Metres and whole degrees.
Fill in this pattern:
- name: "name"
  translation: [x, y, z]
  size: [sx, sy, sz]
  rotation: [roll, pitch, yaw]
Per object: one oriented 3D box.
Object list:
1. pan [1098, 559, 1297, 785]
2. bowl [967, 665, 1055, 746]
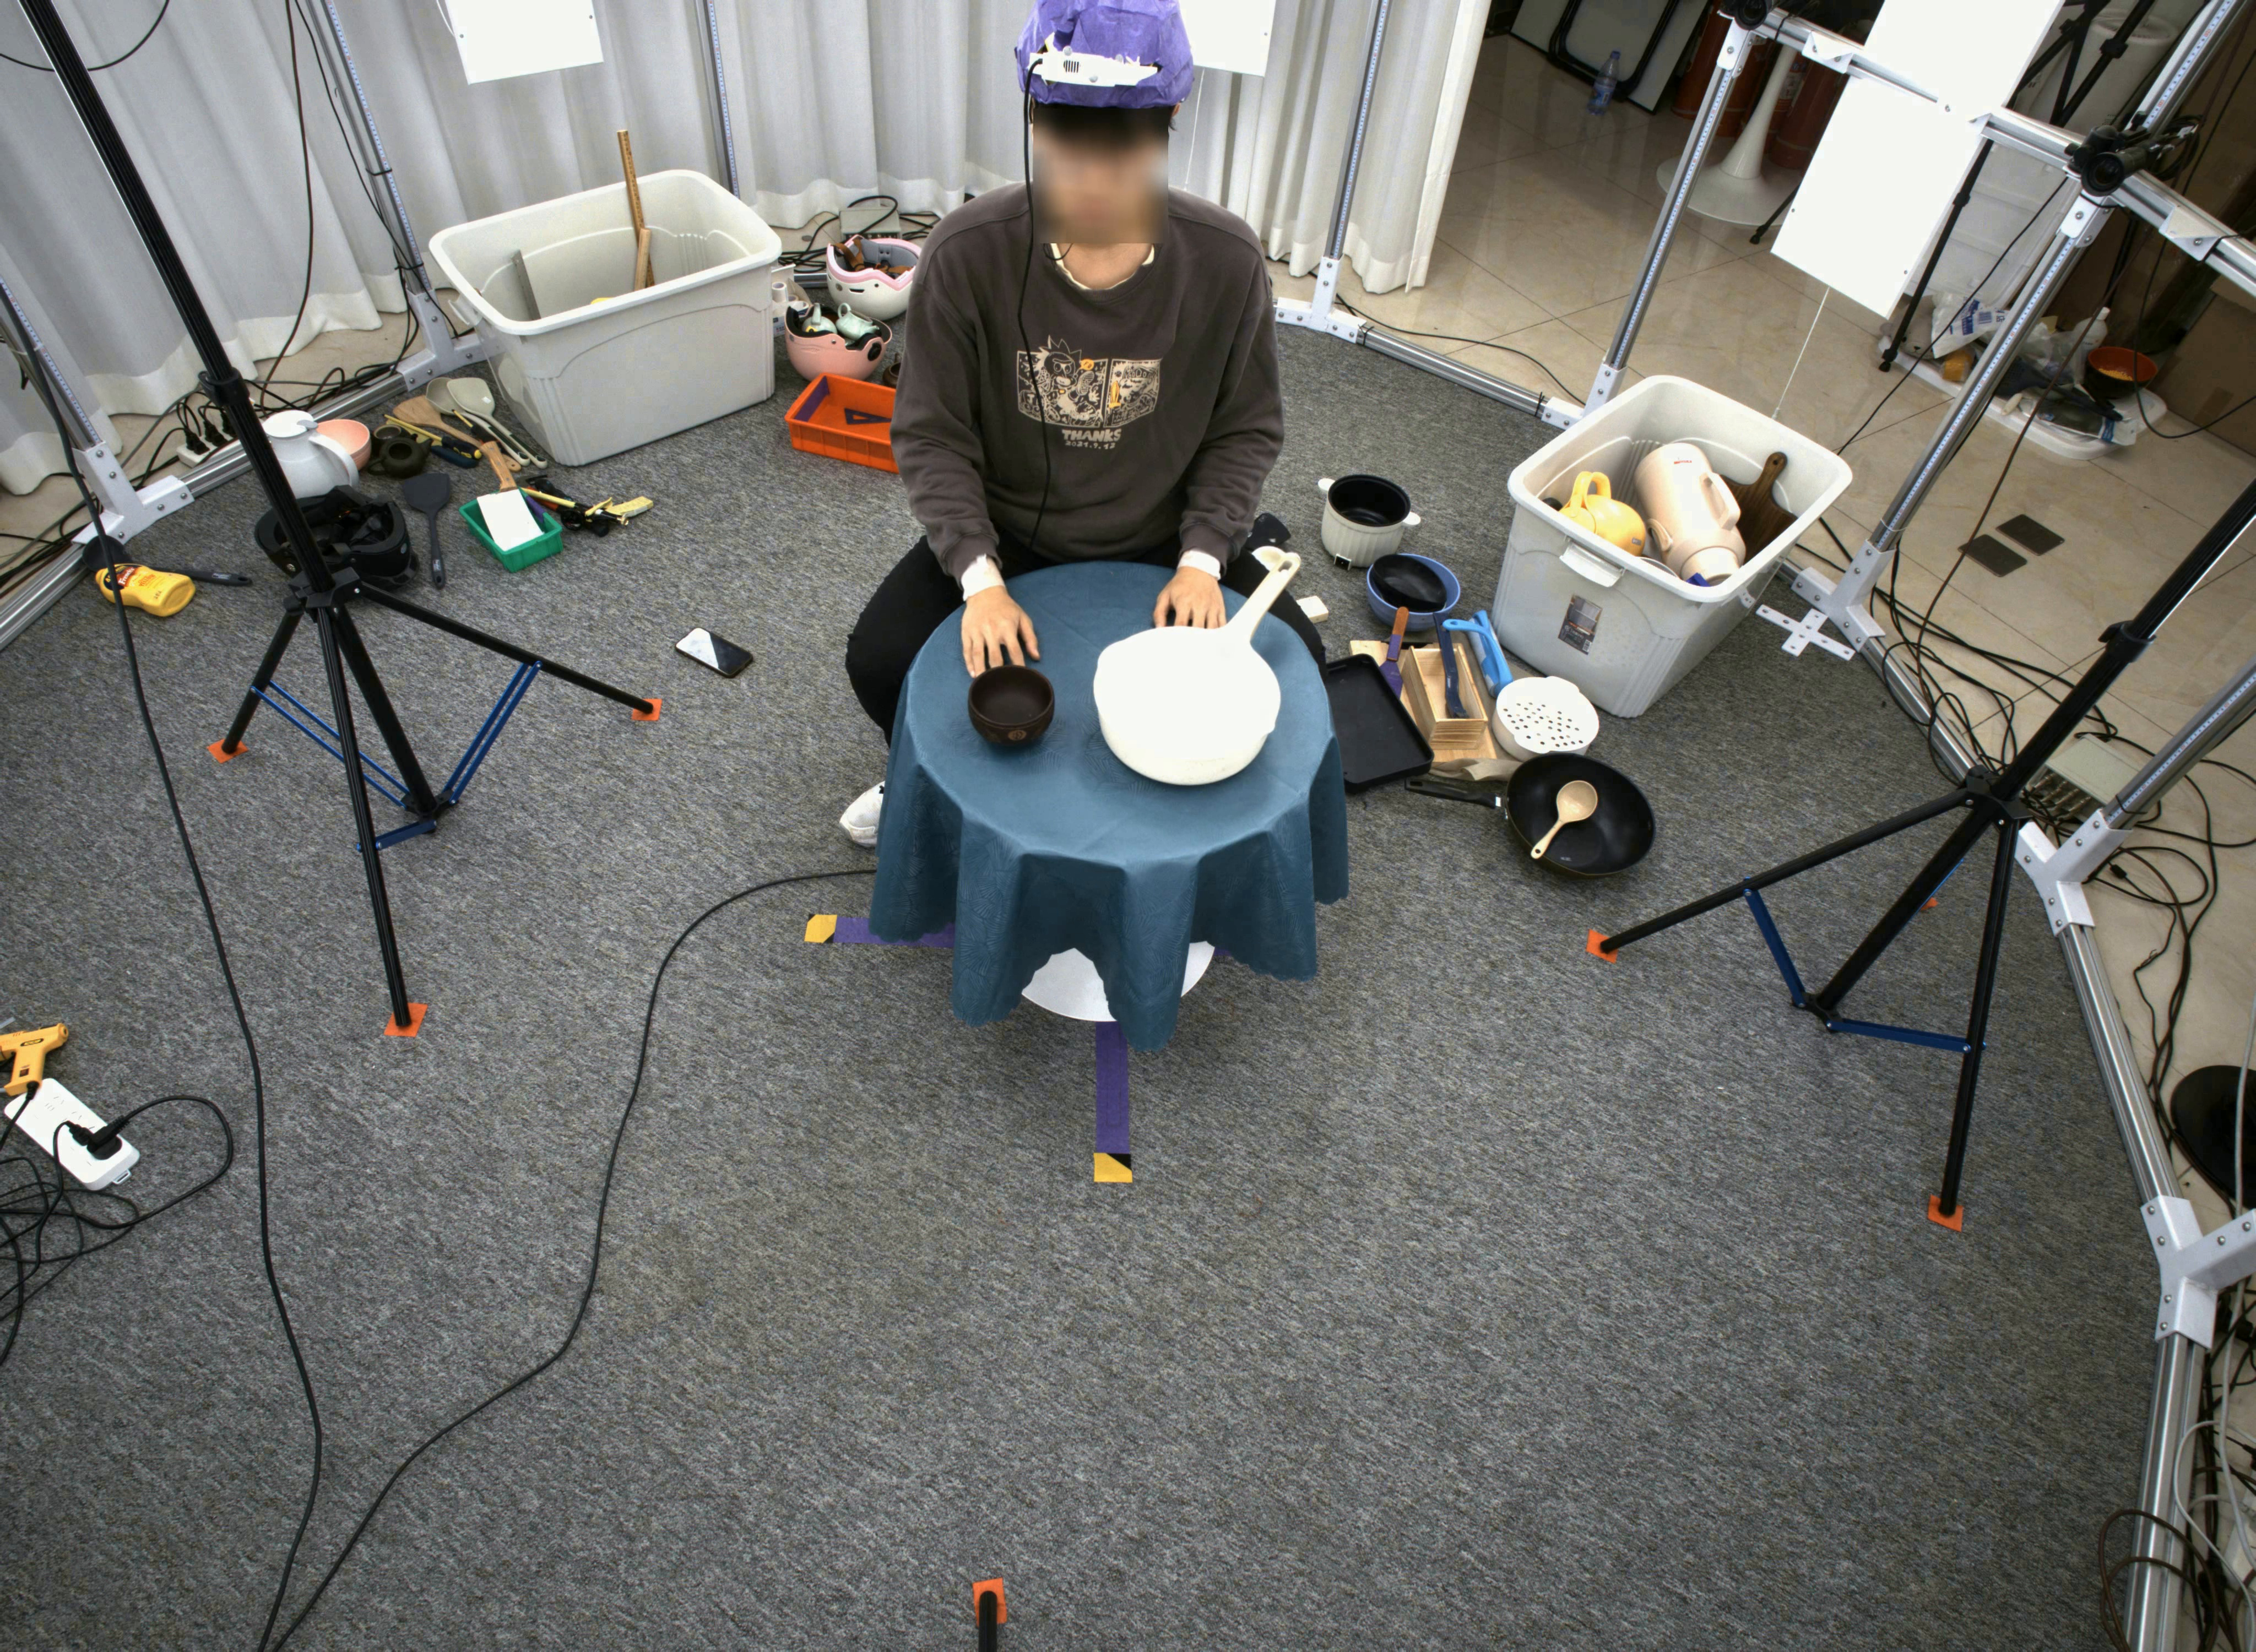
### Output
- name: "pan"
  translation: [0.130, -0.220, 1.802]
  size: [0.266, 0.099, 0.441]
  rotation: [25, 51, 19]
- name: "bowl"
  translation: [-0.158, -0.156, 1.745]
  size: [0.118, 0.068, 0.121]
  rotation: [1, 47, -1]
